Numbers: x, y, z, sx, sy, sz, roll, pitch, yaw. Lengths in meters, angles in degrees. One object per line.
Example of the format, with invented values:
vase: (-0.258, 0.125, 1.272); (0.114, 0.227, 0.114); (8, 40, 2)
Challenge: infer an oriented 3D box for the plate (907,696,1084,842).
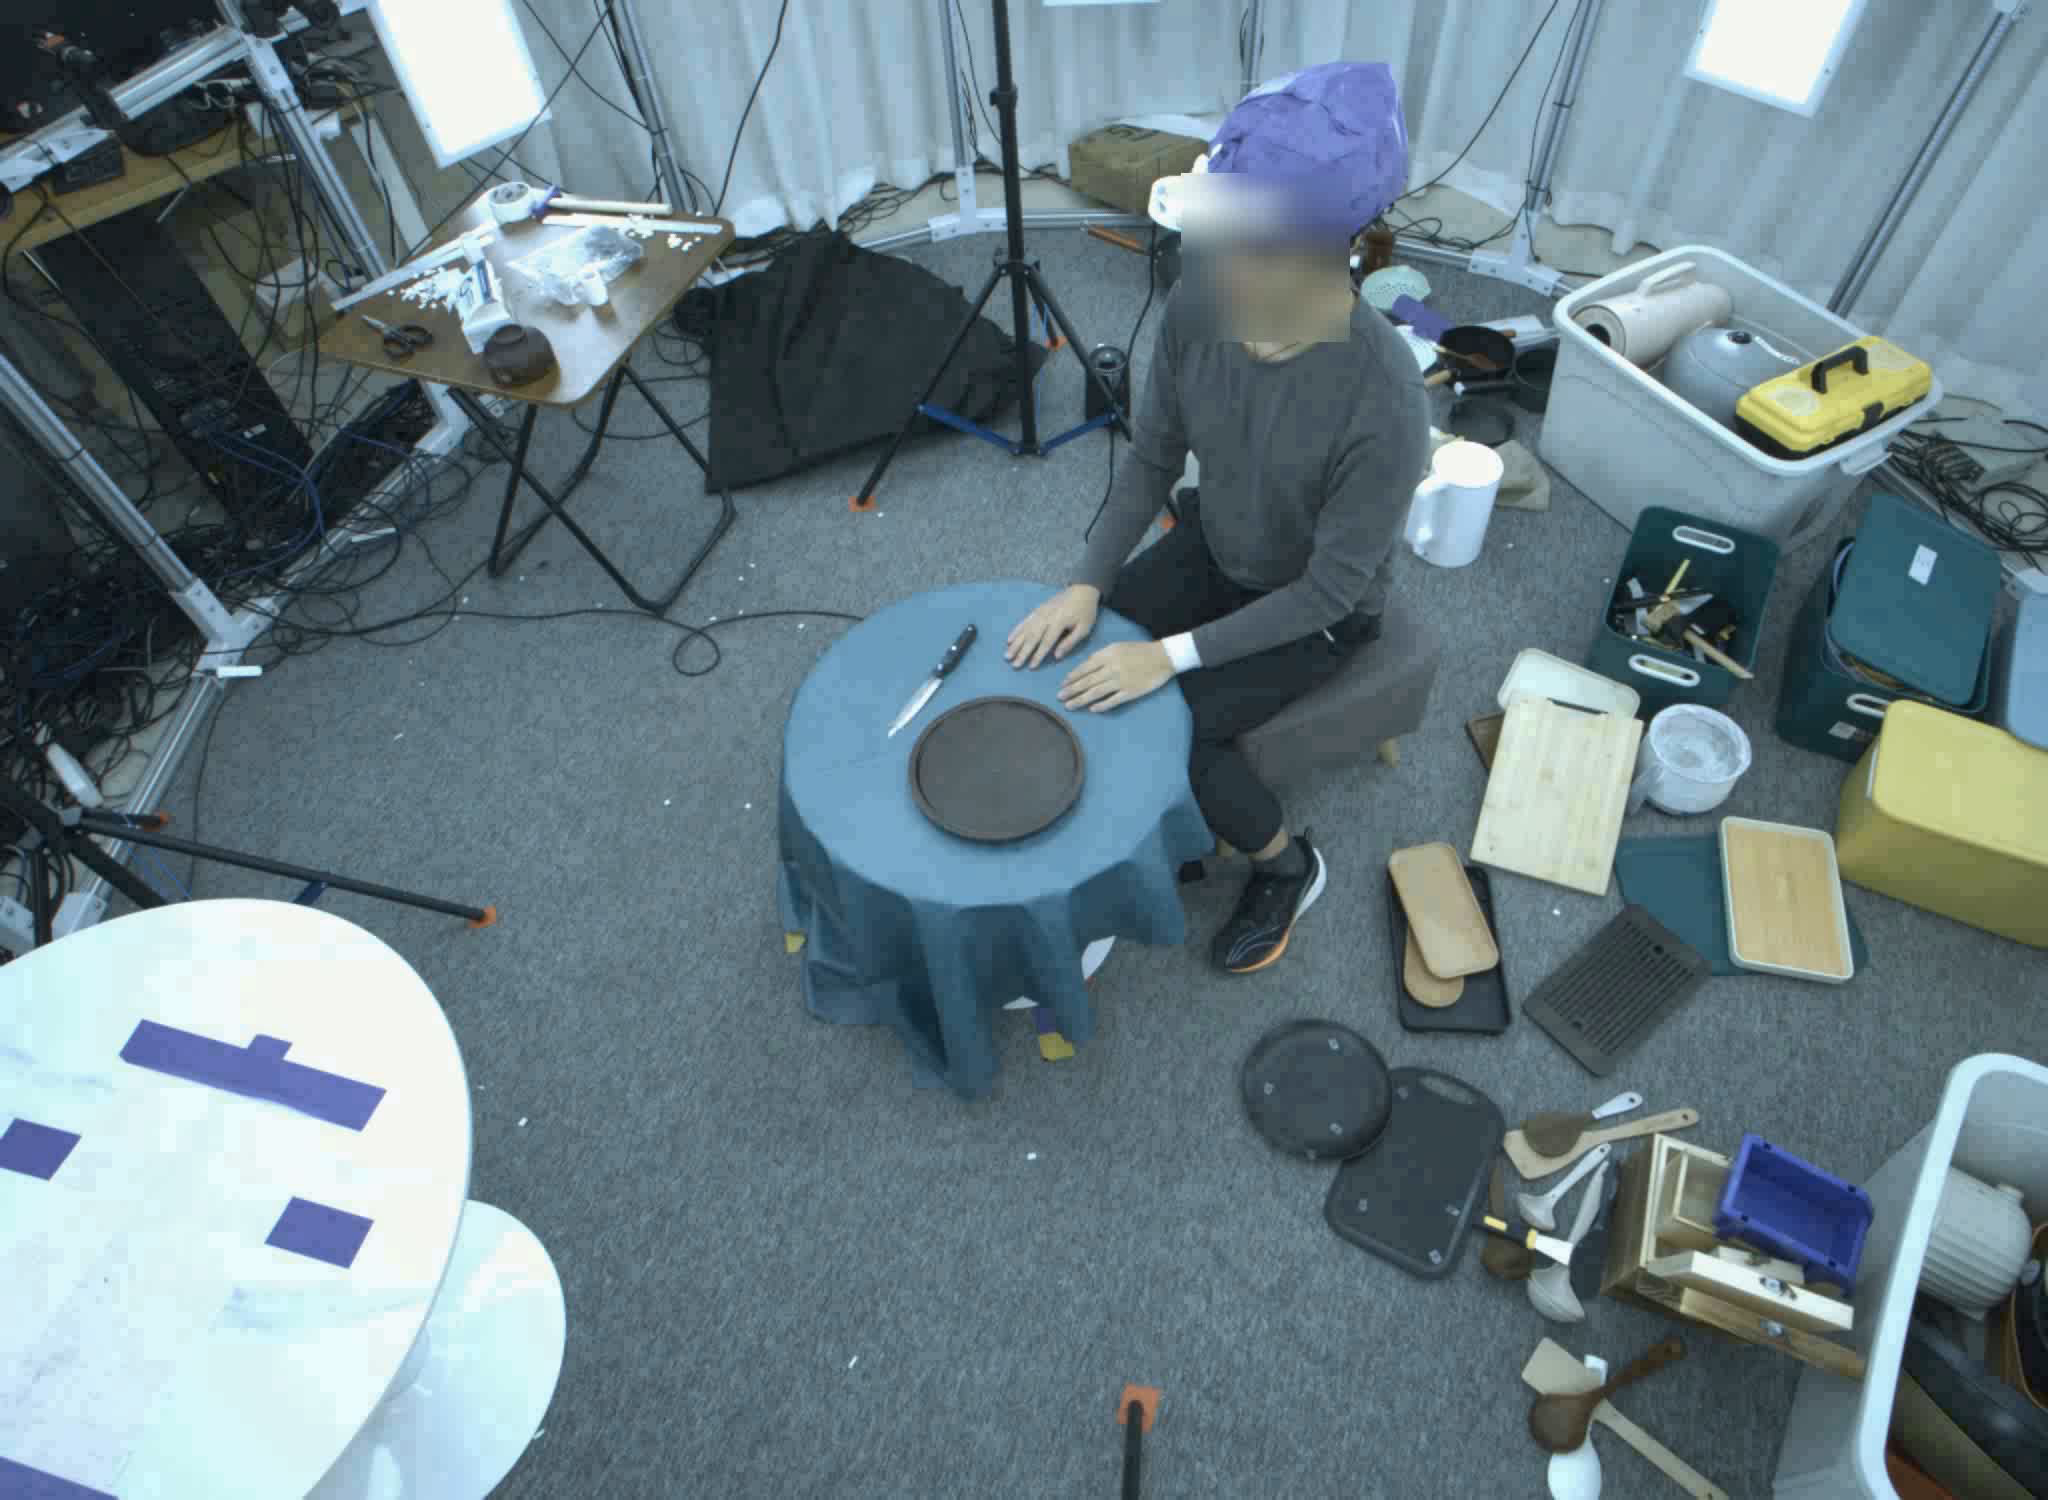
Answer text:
plate: (-0.040, 0.026, 1.763); (0.254, 0.029, 0.252); (0, 55, 2)

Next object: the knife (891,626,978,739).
knife: (-0.139, -0.105, 1.867); (0.024, 0.016, 0.239); (23, 61, 21)
